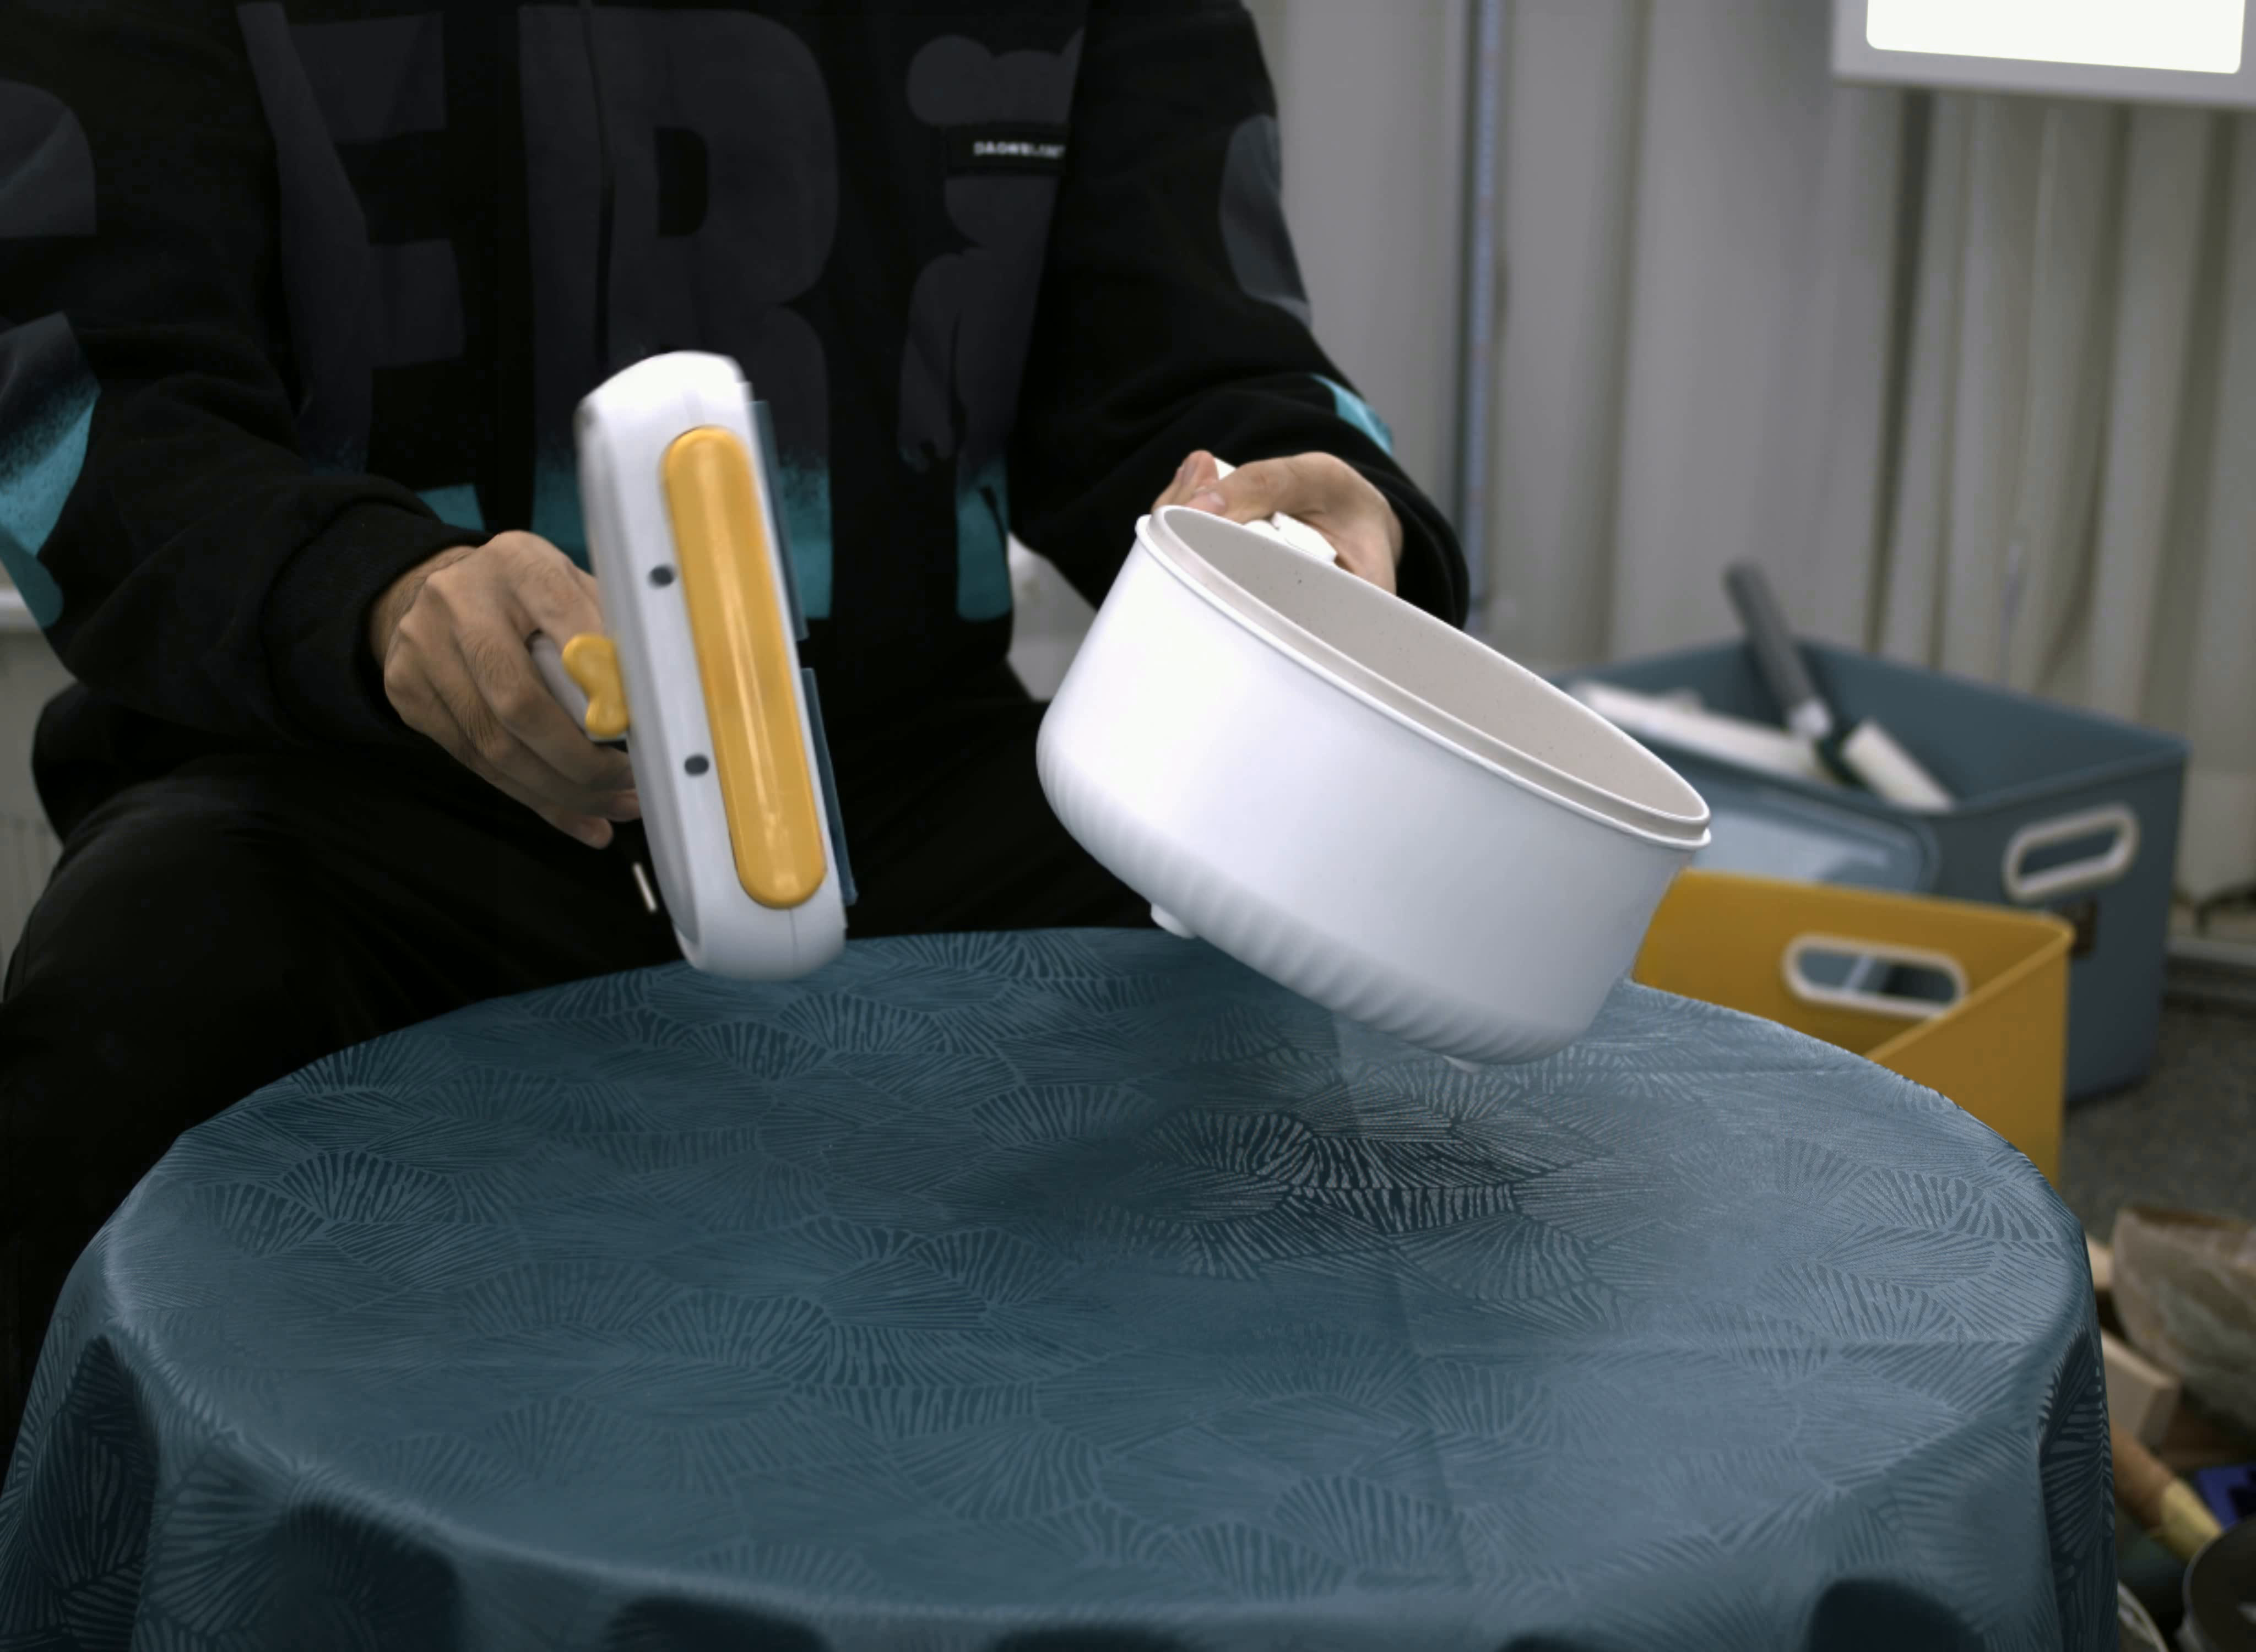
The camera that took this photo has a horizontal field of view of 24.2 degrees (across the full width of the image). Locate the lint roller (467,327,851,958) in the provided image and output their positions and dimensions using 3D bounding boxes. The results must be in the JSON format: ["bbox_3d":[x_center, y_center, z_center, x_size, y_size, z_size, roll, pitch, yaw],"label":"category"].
[{"bbox_3d":[-0.155,-0.048,1.635,0.074,0.194,0.191,-20,4,-21],"label":"lint roller"}]

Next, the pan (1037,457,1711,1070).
[{"bbox_3d":[0.055,-0.032,1.689,0.202,0.102,0.351,26,11,-19],"label":"pan"}]
